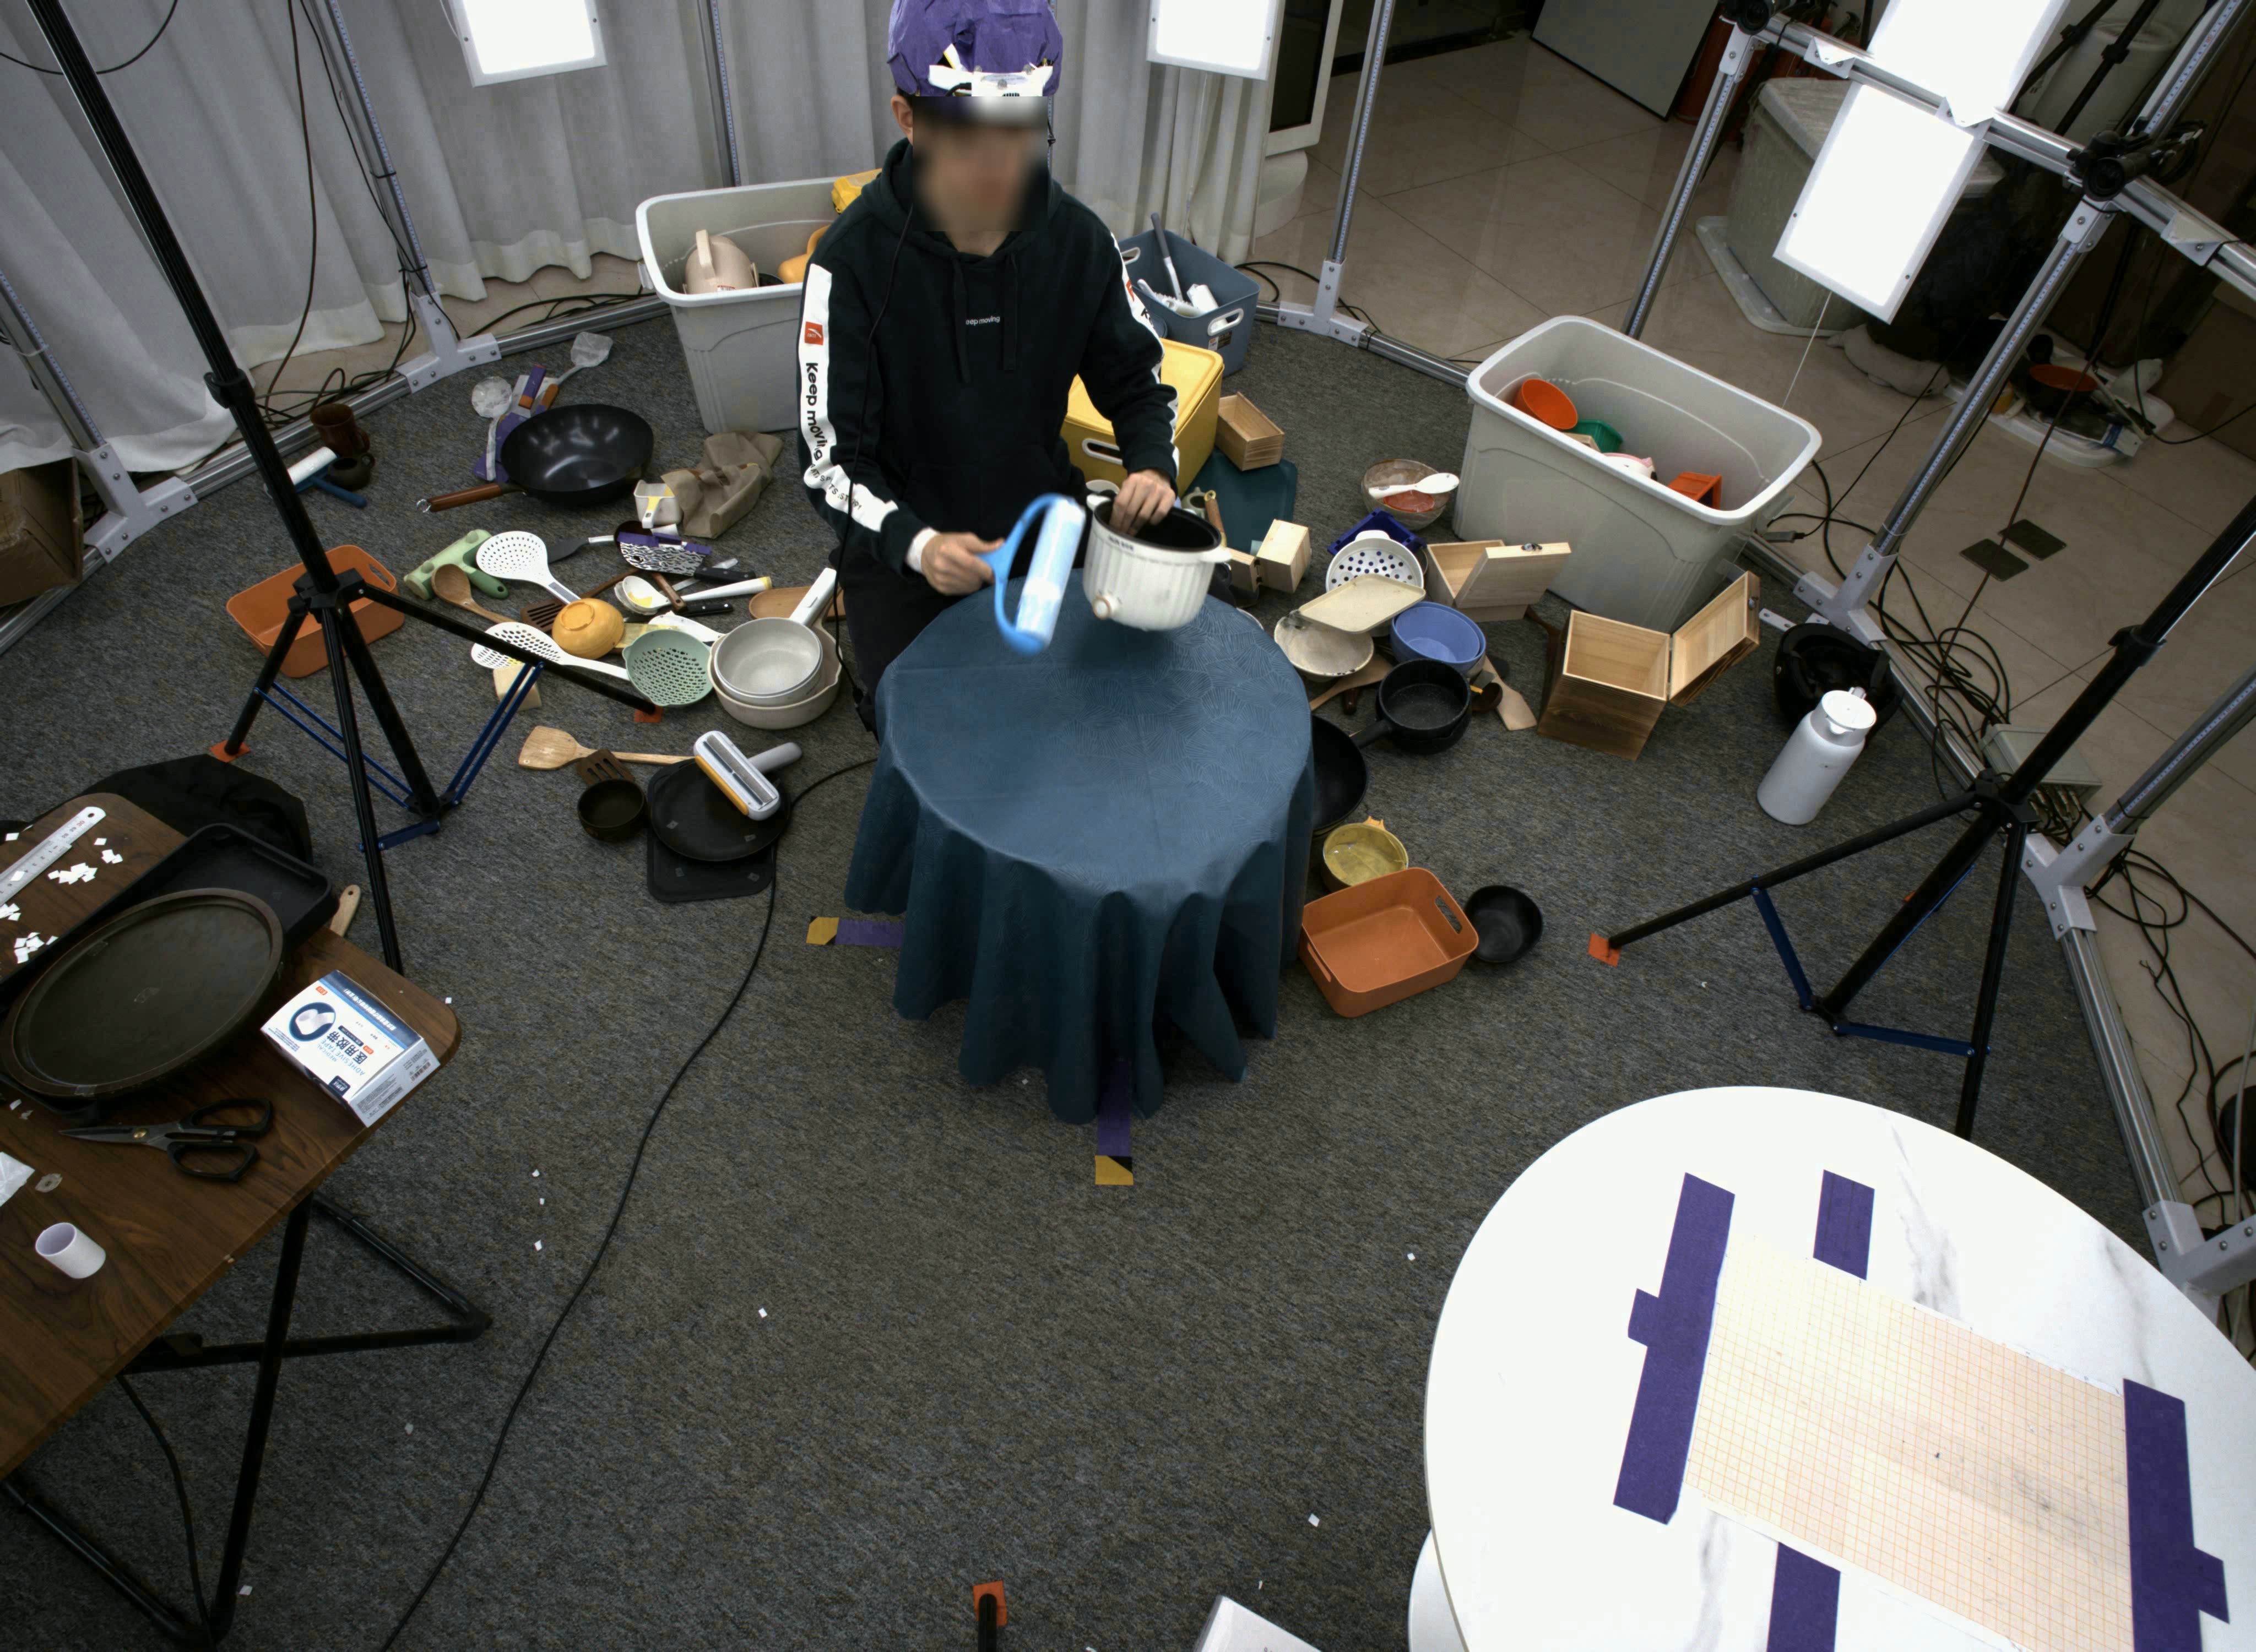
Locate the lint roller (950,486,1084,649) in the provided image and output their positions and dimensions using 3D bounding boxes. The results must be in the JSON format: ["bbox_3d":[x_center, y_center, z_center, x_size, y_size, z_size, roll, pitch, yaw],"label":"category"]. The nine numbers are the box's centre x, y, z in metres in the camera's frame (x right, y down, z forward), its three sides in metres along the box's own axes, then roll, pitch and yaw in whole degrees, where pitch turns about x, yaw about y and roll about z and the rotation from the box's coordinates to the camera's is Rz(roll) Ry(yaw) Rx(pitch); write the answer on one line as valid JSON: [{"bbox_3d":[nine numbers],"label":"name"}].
[{"bbox_3d":[-0.158,-0.339,1.684,0.180,0.067,0.232,2,70,15],"label":"lint roller"}]

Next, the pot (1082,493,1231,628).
[{"bbox_3d":[0.025,-0.365,1.810,0.243,0.140,0.191,28,29,25],"label":"pot"}]
